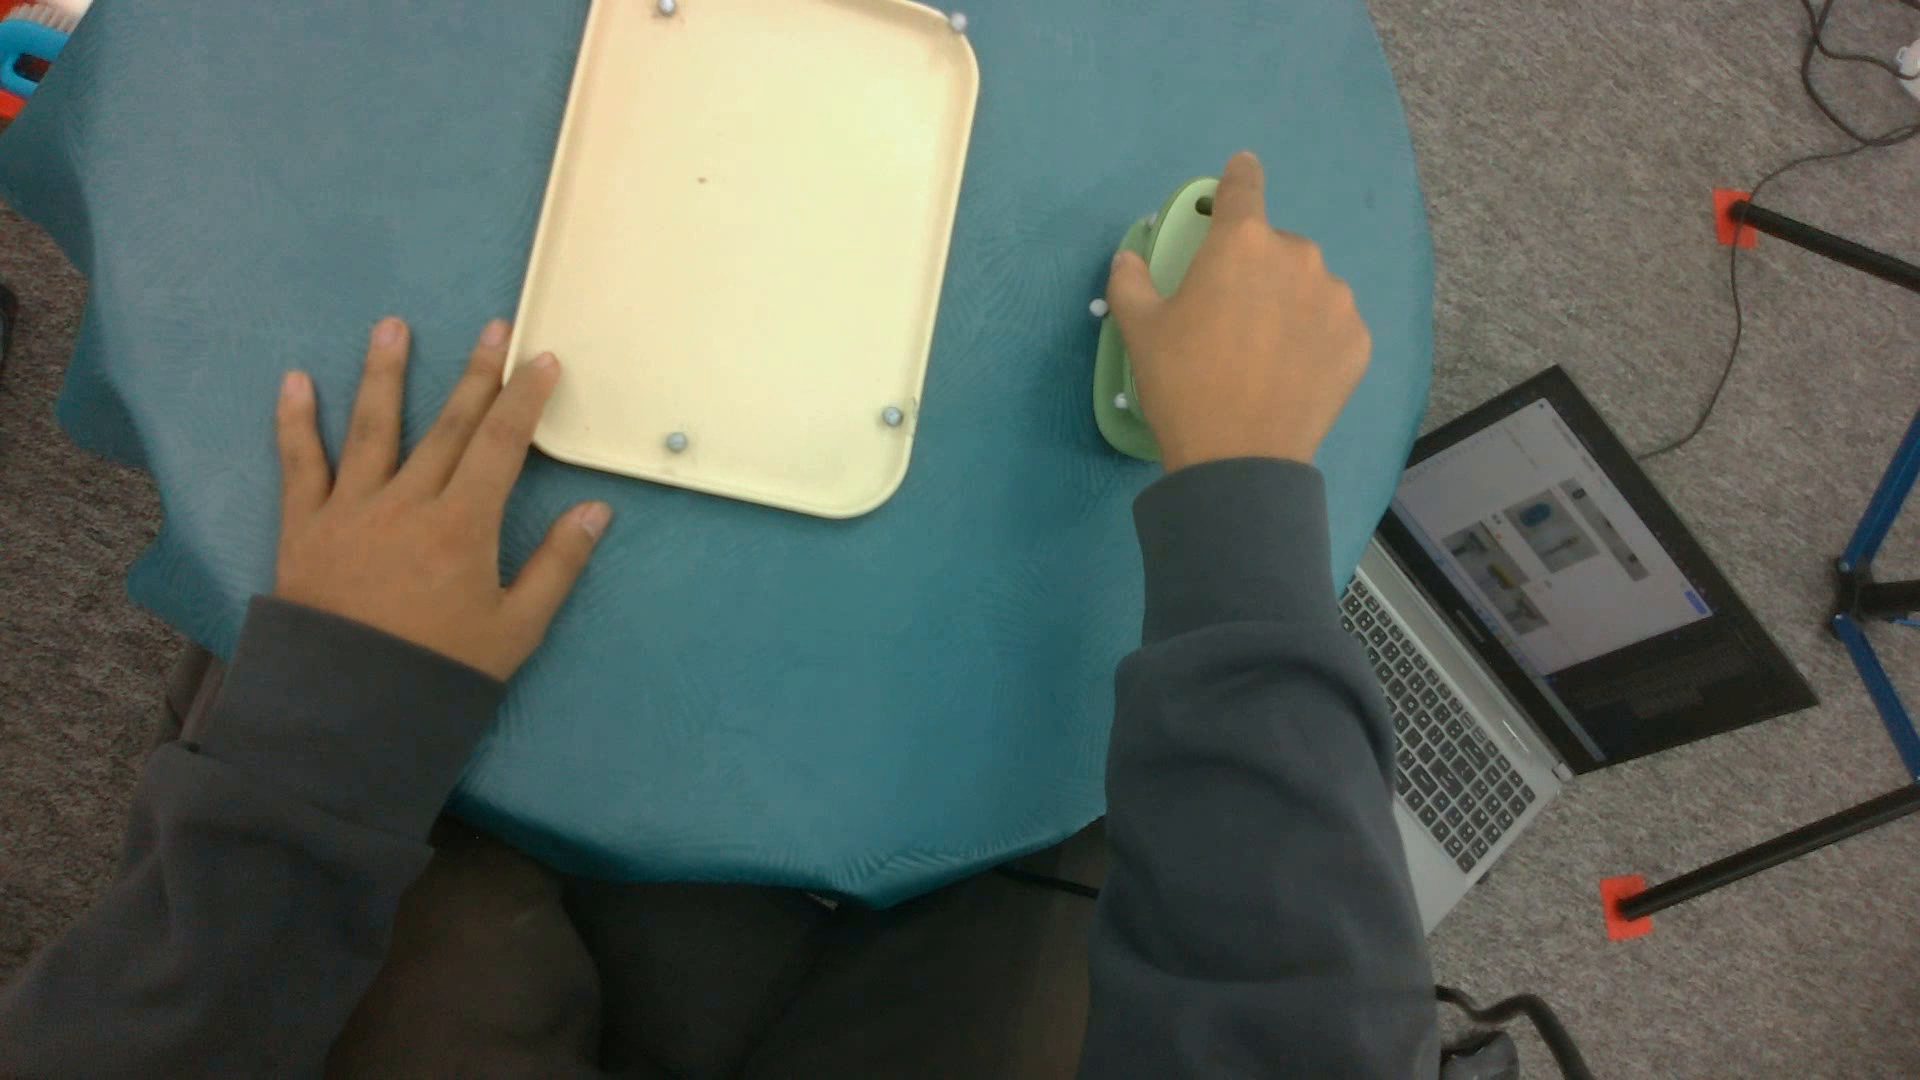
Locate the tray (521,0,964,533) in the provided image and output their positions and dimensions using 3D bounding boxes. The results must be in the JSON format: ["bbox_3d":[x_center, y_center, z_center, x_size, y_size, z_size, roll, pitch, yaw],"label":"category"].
[{"bbox_3d":[-0.092,-0.127,0.615,0.171,0.017,0.240,10,79,-13],"label":"tray"}]

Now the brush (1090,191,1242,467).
[{"bbox_3d":[0.094,-0.095,0.640,0.059,0.076,0.123,8,93,-7],"label":"brush"}]
